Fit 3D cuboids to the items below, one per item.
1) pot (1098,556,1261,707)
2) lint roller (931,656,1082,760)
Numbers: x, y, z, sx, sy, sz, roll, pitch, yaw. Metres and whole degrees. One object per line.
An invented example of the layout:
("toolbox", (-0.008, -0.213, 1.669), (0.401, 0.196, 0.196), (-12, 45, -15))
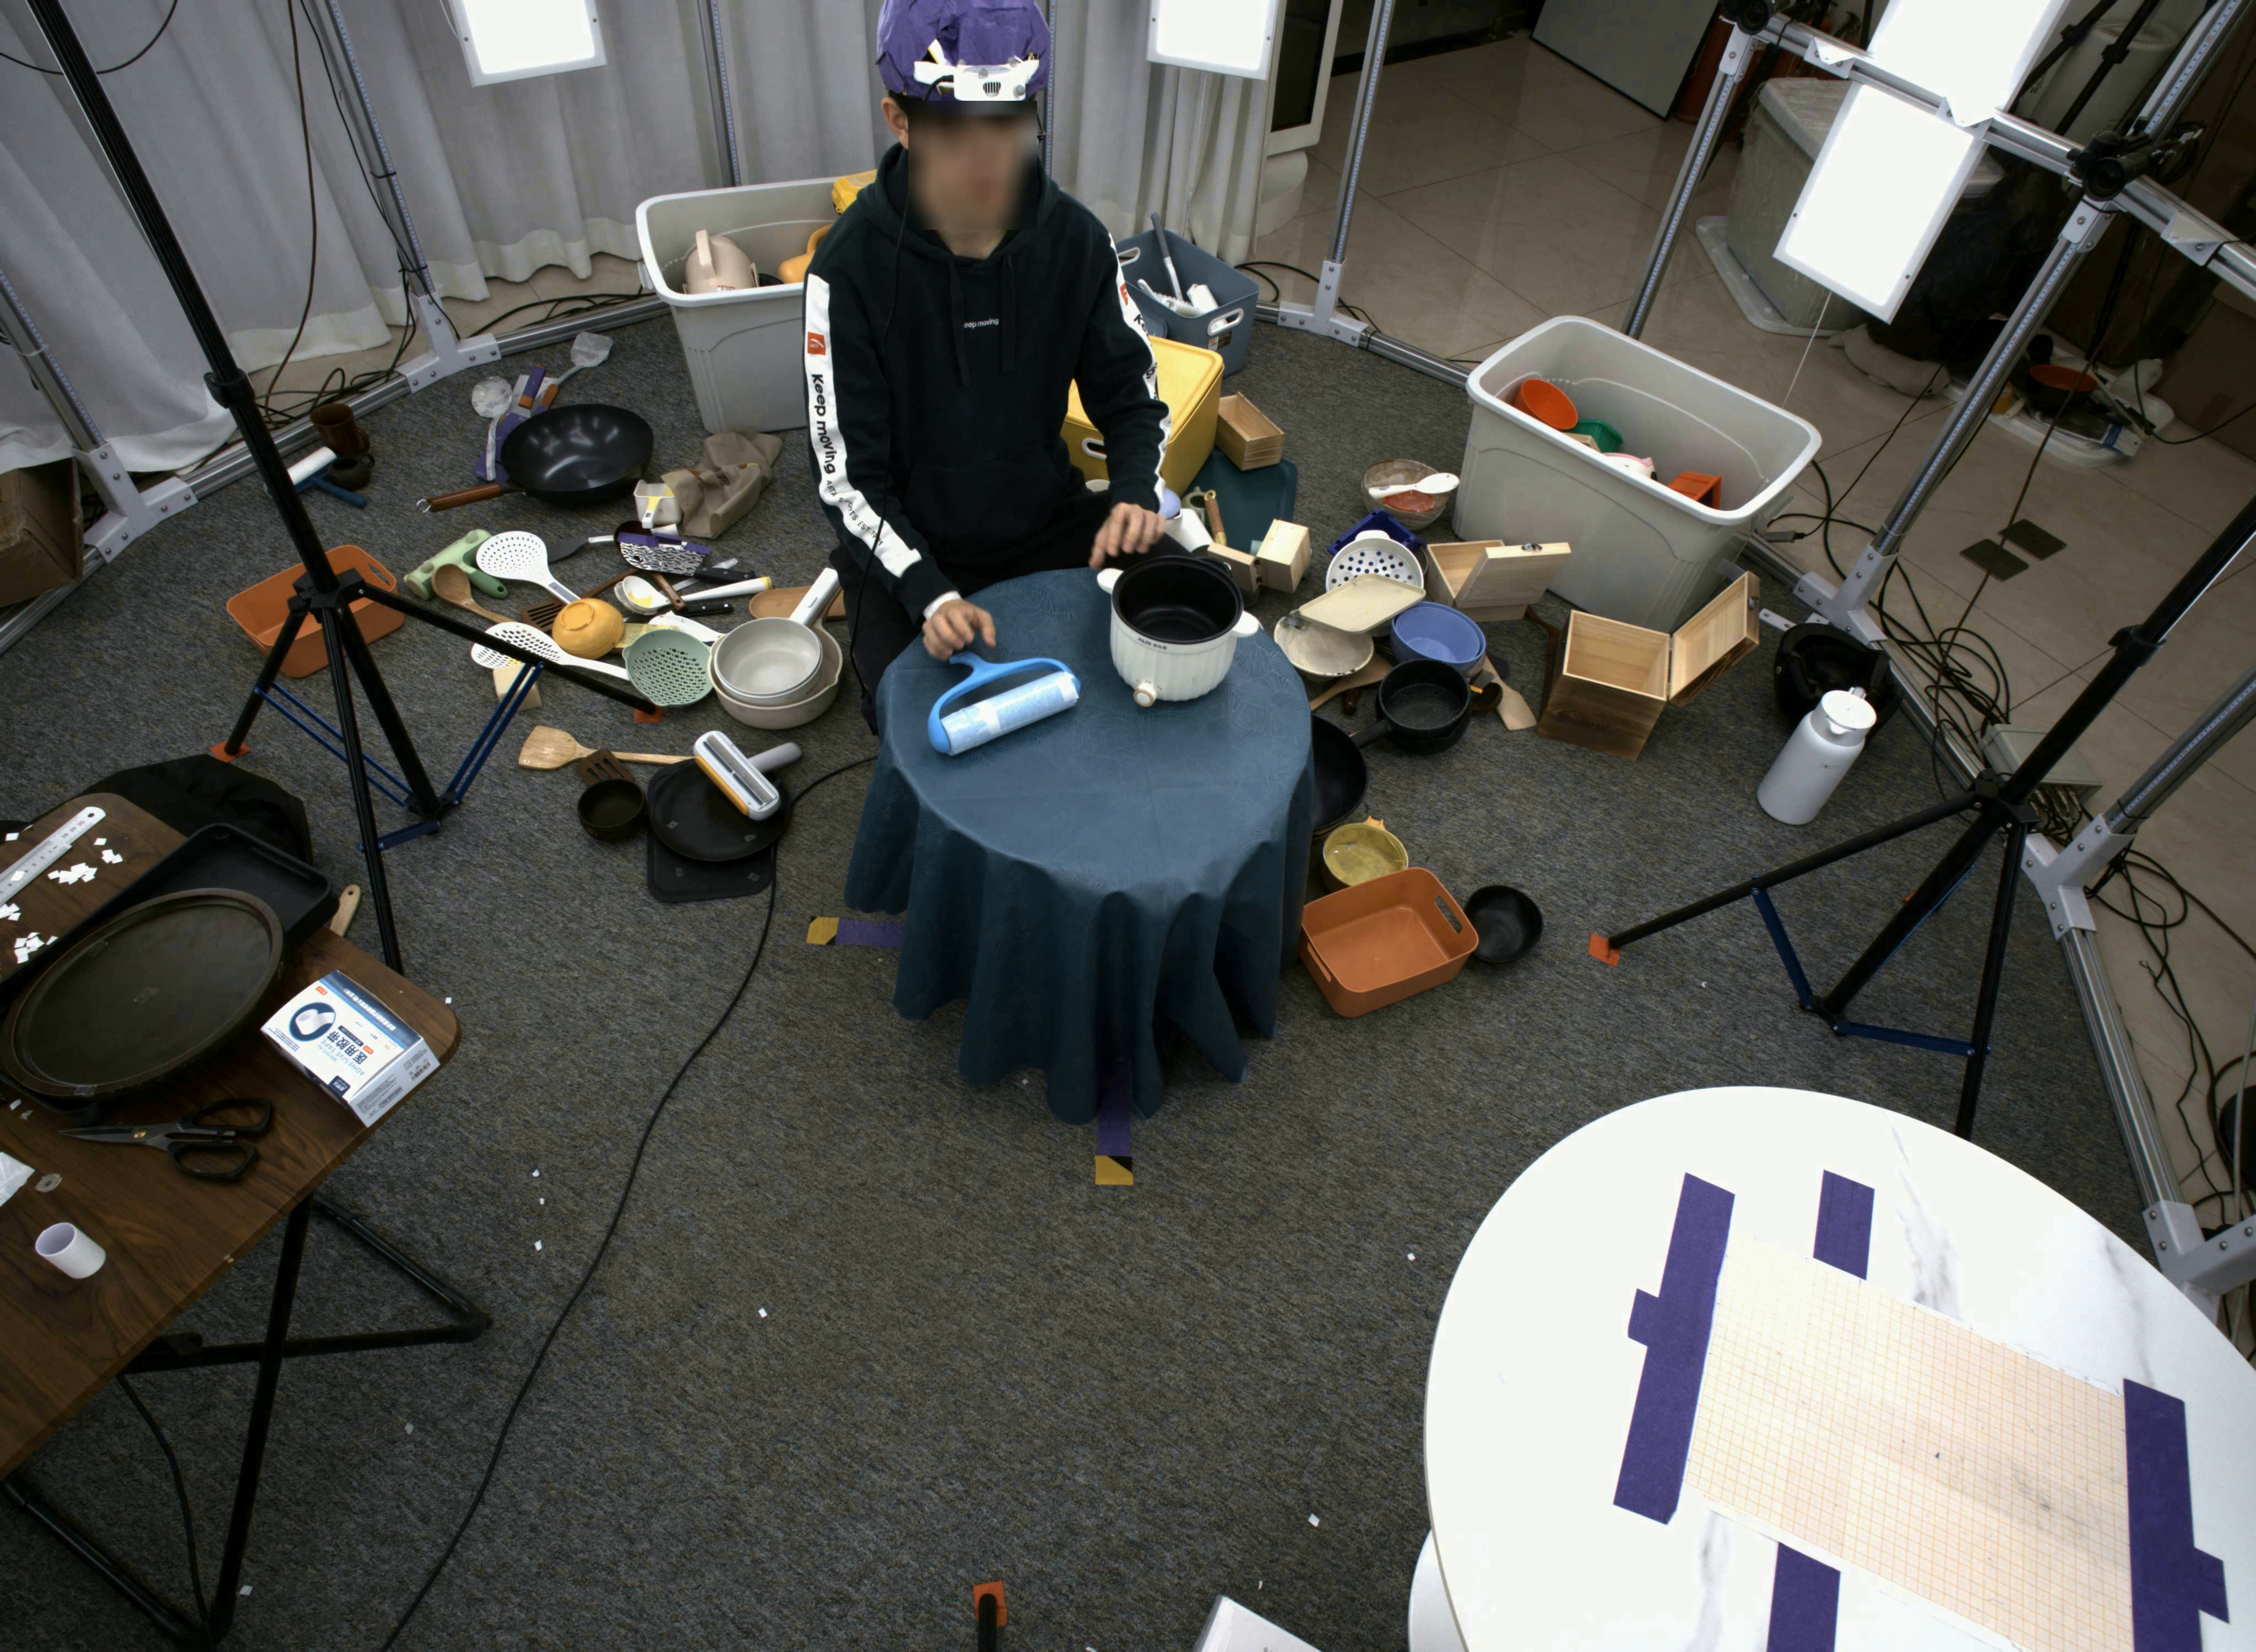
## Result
("pot", (0.065, -0.268, 1.815), (0.242, 0.139, 0.194), (19, 48, 14))
("lint roller", (-0.198, -0.193, 1.786), (0.230, 0.066, 0.183), (-29, 58, -23))
